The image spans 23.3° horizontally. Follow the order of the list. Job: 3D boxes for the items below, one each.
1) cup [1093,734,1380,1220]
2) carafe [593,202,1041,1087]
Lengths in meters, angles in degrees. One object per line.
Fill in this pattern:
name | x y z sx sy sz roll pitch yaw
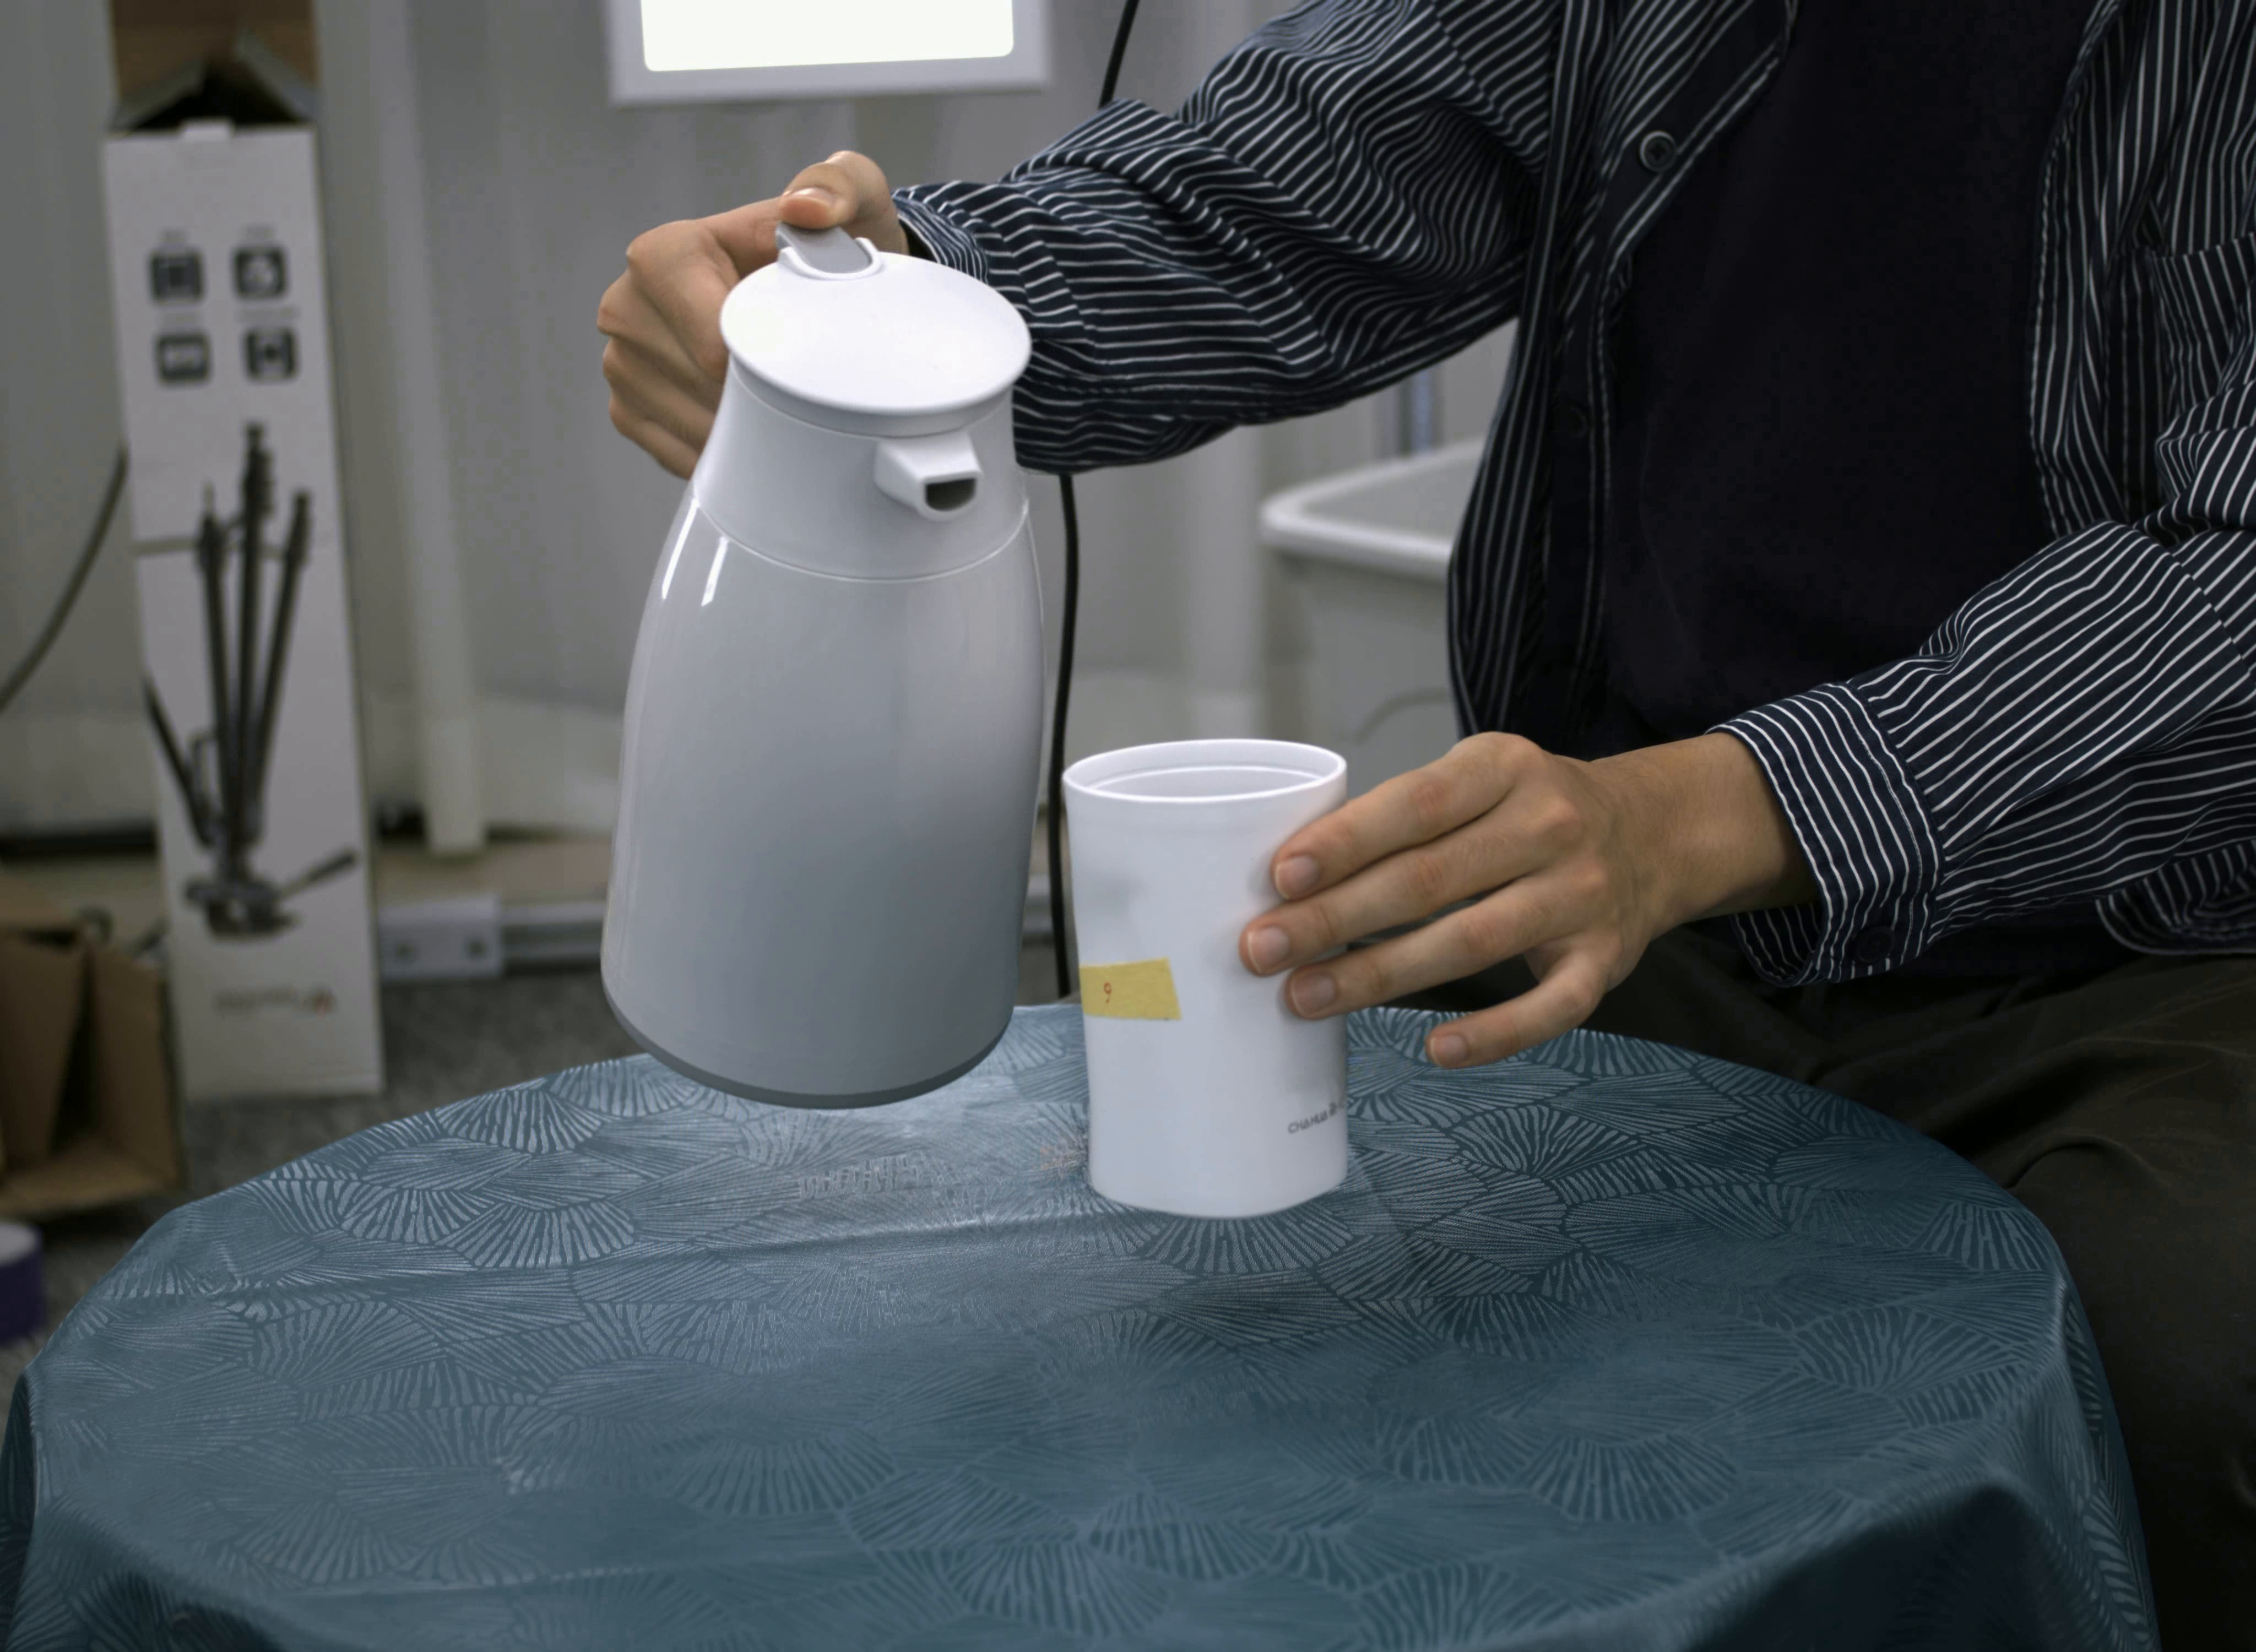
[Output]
cup | 0.033 0.043 1.567 0.081 0.125 0.082 -3 12 0
carafe | -0.099 -0.067 1.678 0.132 0.246 0.170 -14 42 -28
